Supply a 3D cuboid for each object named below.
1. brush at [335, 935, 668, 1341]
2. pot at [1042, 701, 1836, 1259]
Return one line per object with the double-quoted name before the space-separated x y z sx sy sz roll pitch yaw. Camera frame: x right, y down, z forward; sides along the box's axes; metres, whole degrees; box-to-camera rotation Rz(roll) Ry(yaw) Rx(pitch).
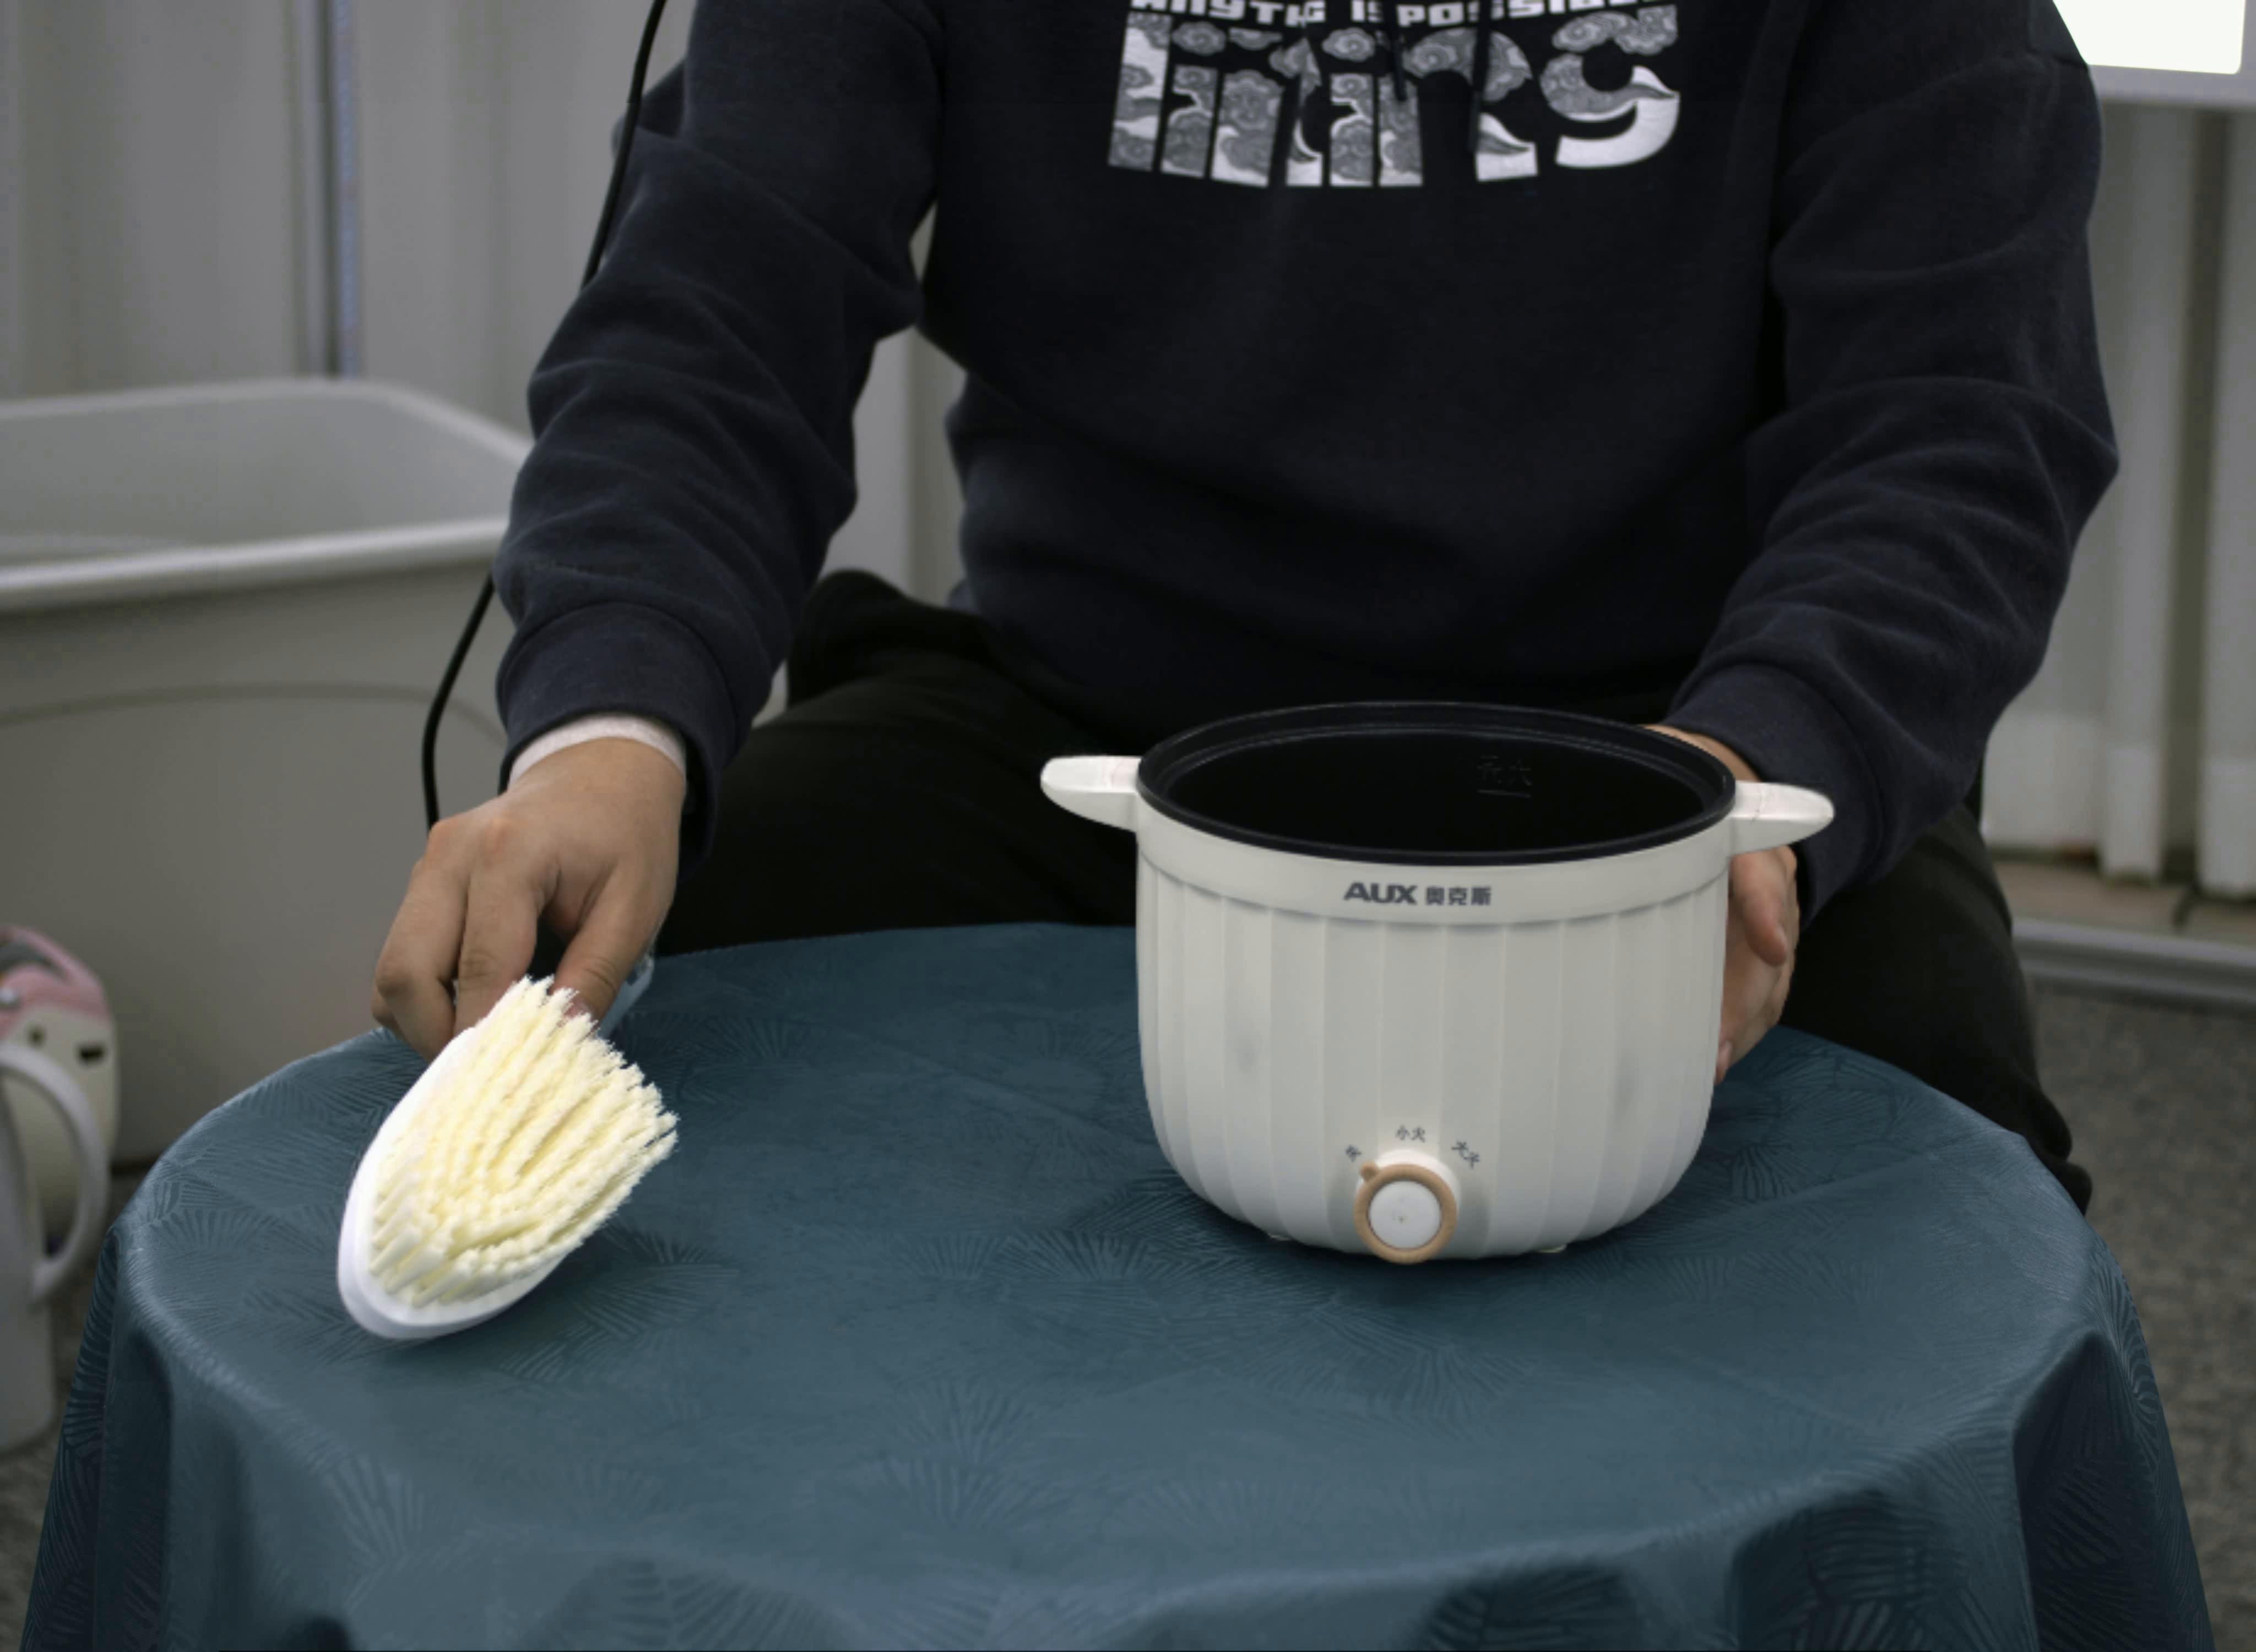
"brush" -0.172 0.068 1.620 0.084 0.084 0.324 -2 16 9
"pot" 0.093 0.049 1.599 0.239 0.143 0.190 1 13 5
